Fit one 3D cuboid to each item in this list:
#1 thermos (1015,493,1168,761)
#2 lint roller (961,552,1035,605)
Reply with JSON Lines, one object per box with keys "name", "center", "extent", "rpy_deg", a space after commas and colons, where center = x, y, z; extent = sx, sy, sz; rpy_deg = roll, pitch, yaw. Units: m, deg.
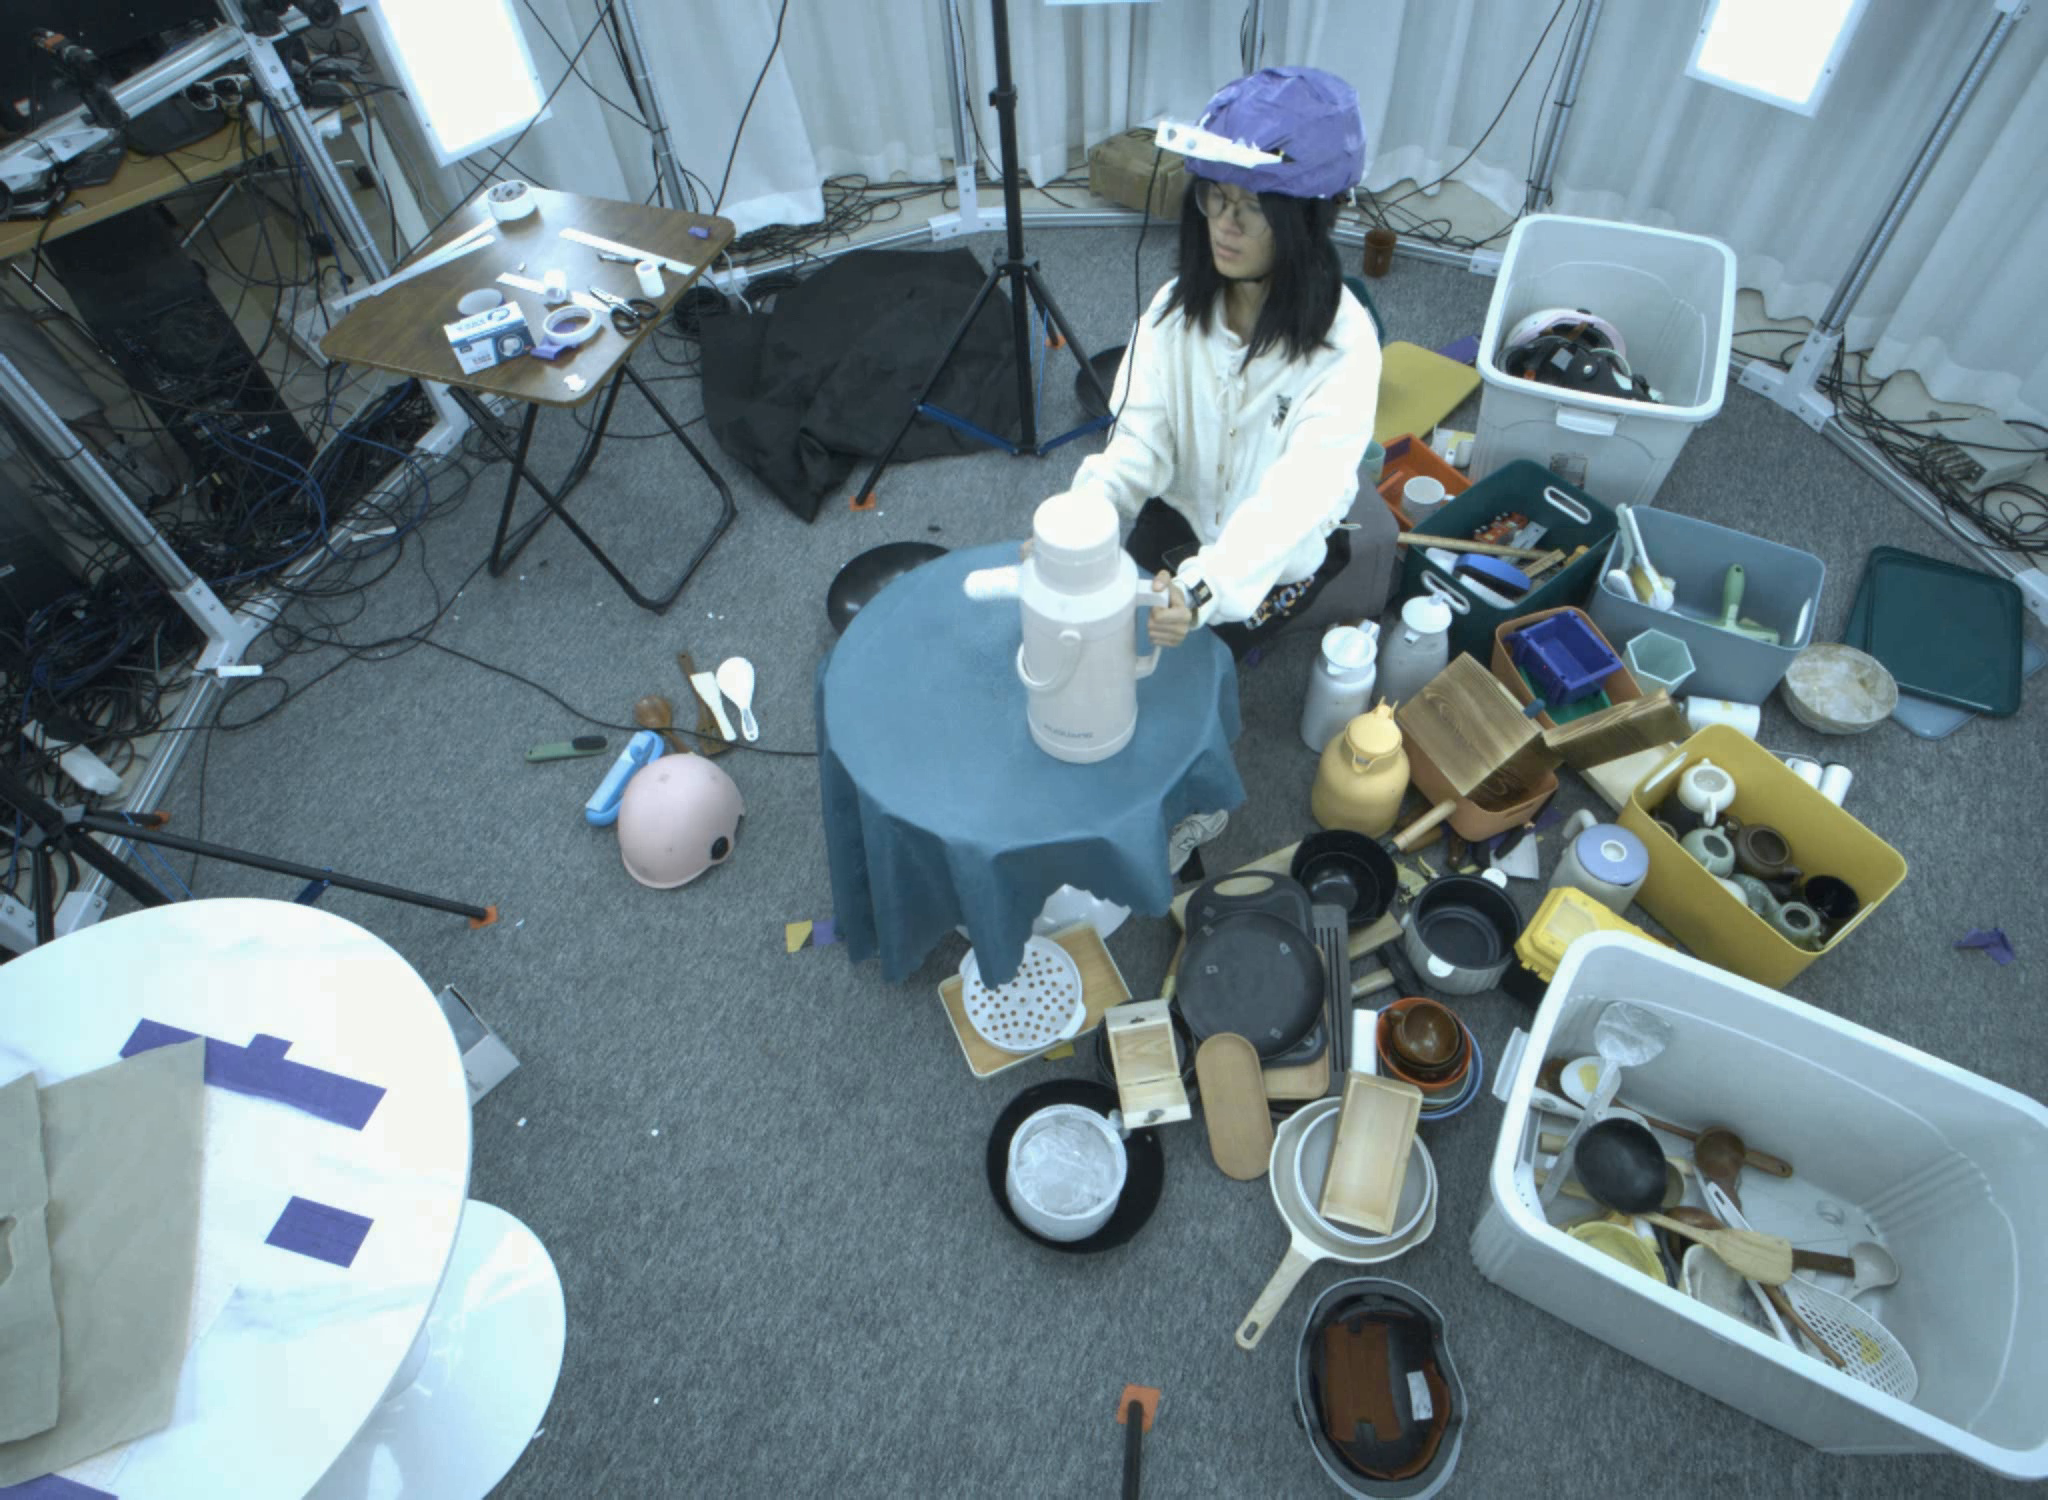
{"name": "thermos", "center": [0.087, -0.159, 1.653], "extent": [0.206, 0.411, 0.174], "rpy_deg": [5, 54, 7]}
{"name": "lint roller", "center": [-0.001, -0.279, 1.841], "extent": [0.130, 0.051, 0.182], "rpy_deg": [10, 48, 48]}
